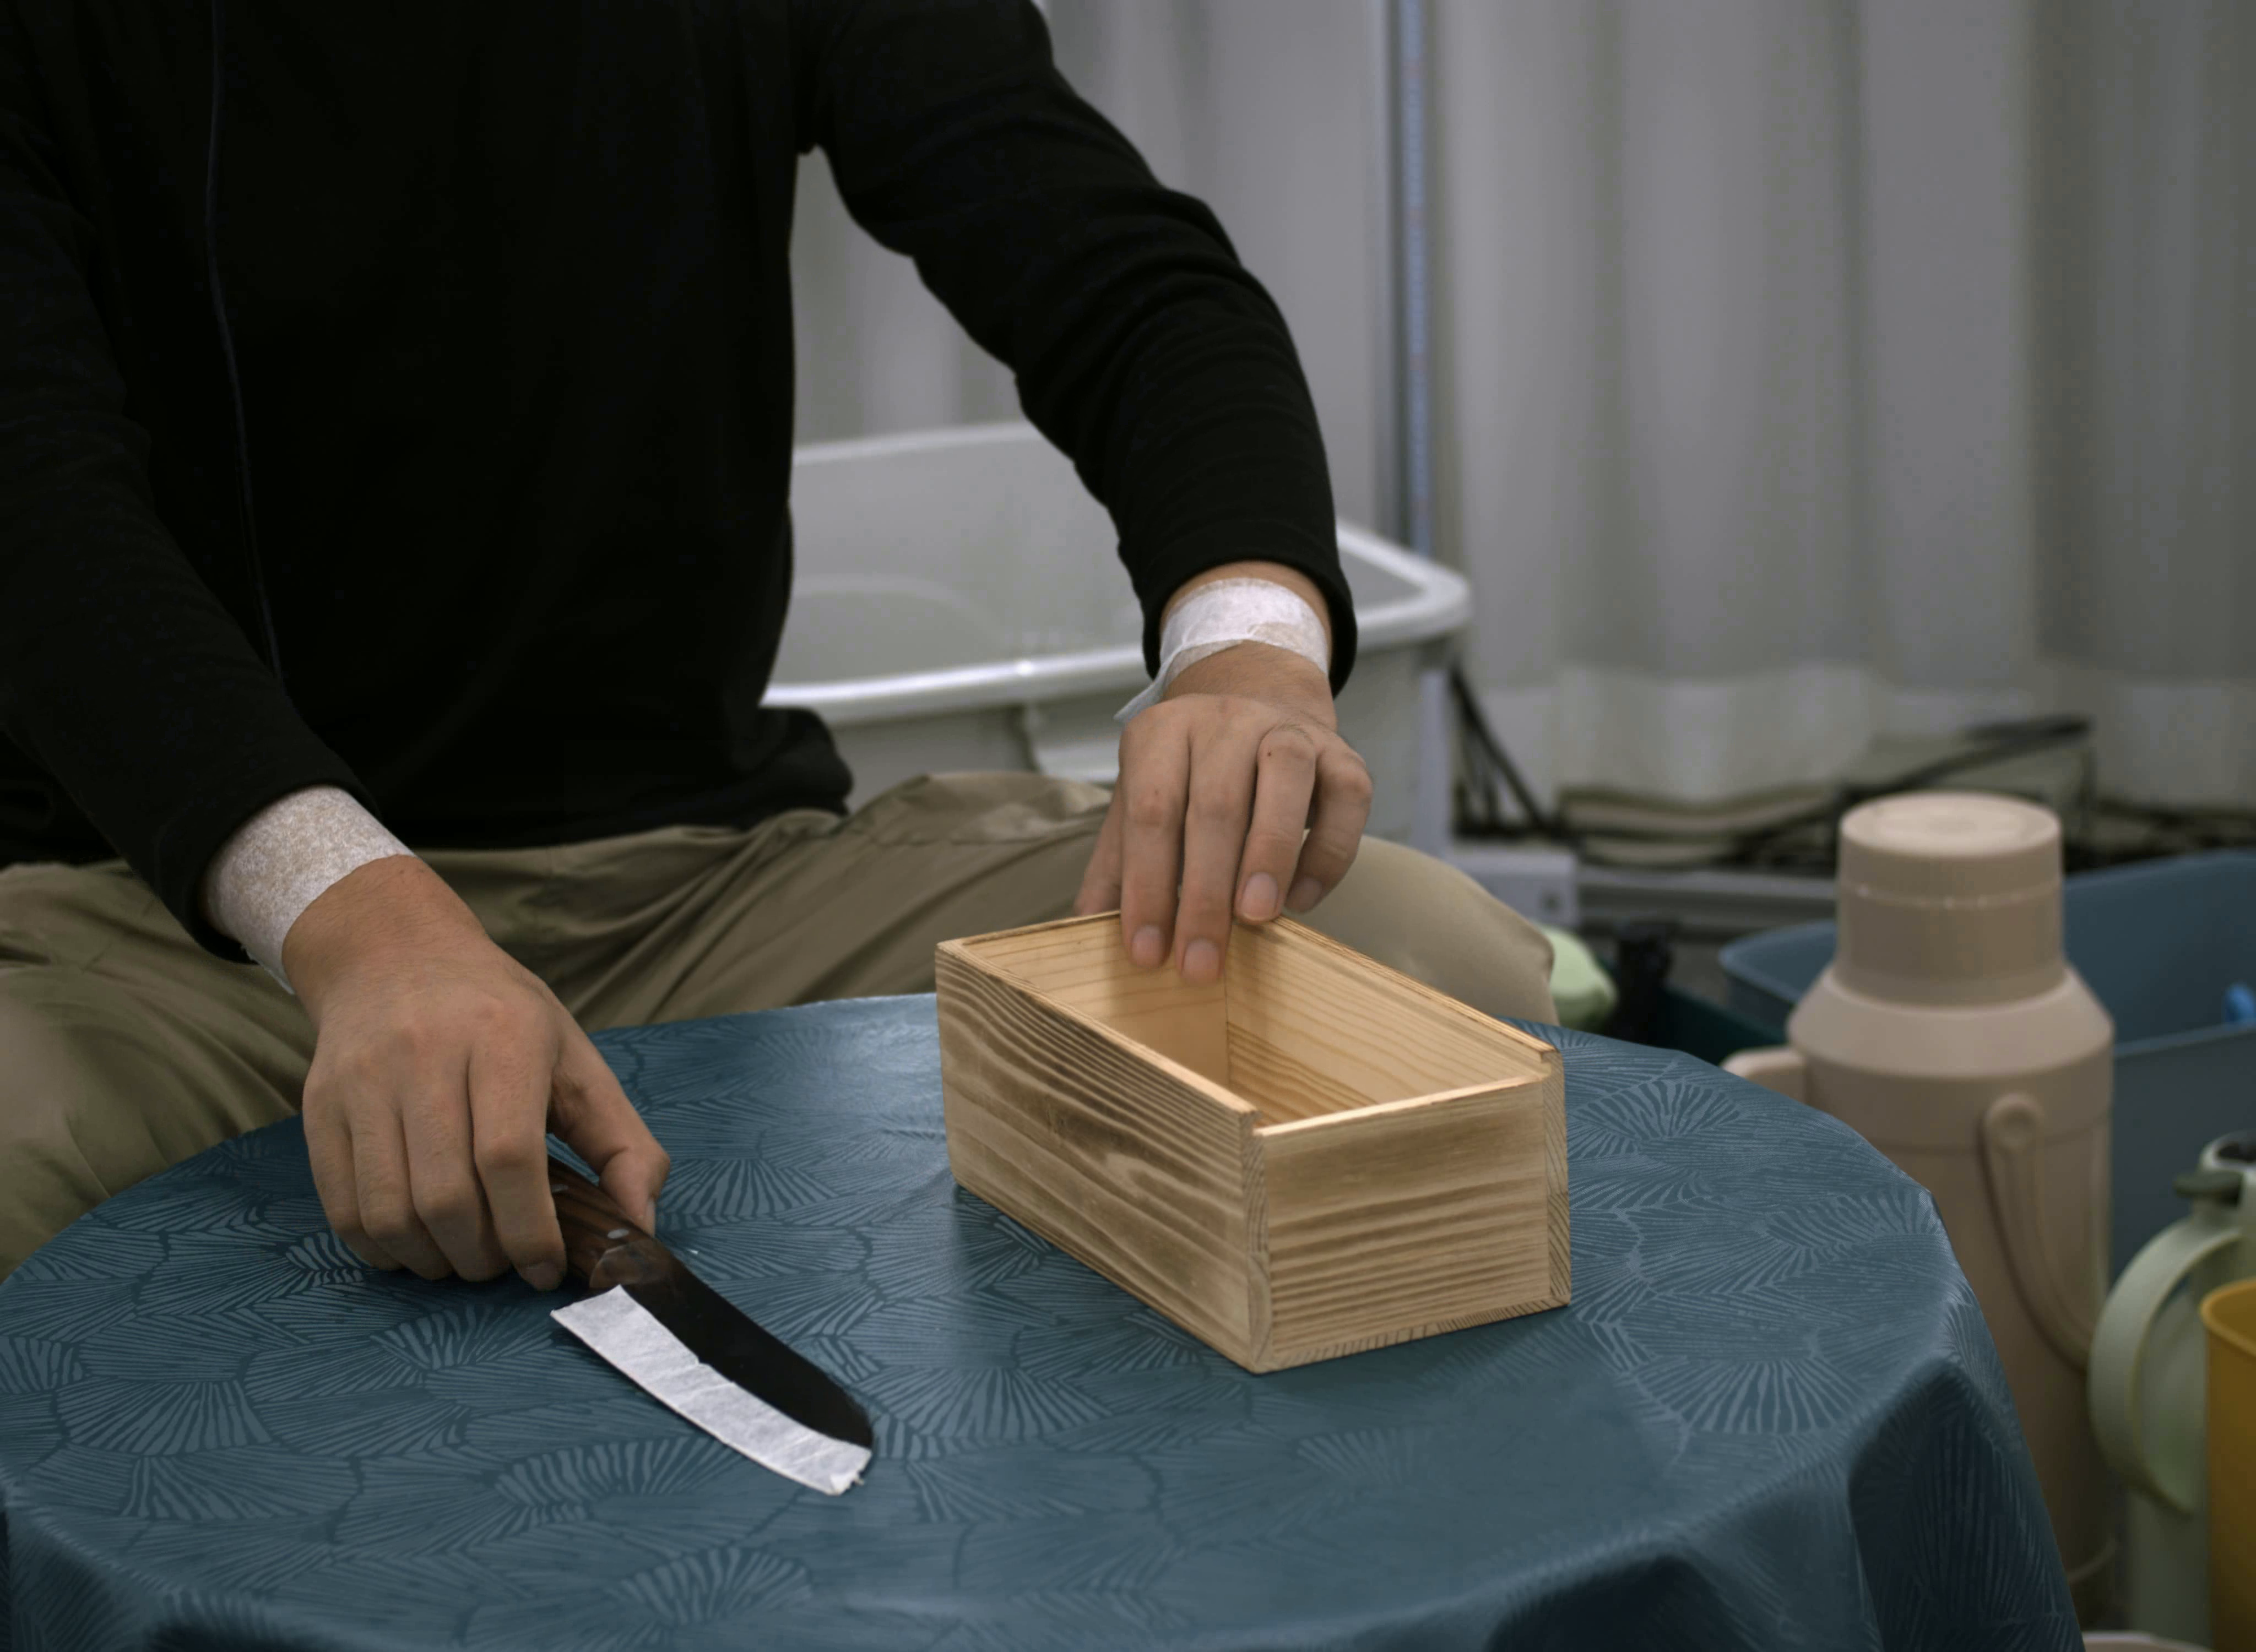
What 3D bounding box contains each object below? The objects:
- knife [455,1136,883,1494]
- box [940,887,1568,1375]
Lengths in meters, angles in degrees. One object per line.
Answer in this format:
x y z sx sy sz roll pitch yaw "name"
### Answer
-0.139 0.143 1.605 0.050 0.020 0.291 -17 22 -22 "knife"
0.034 0.088 1.654 0.107 0.080 0.213 -9 16 -25 "box"
